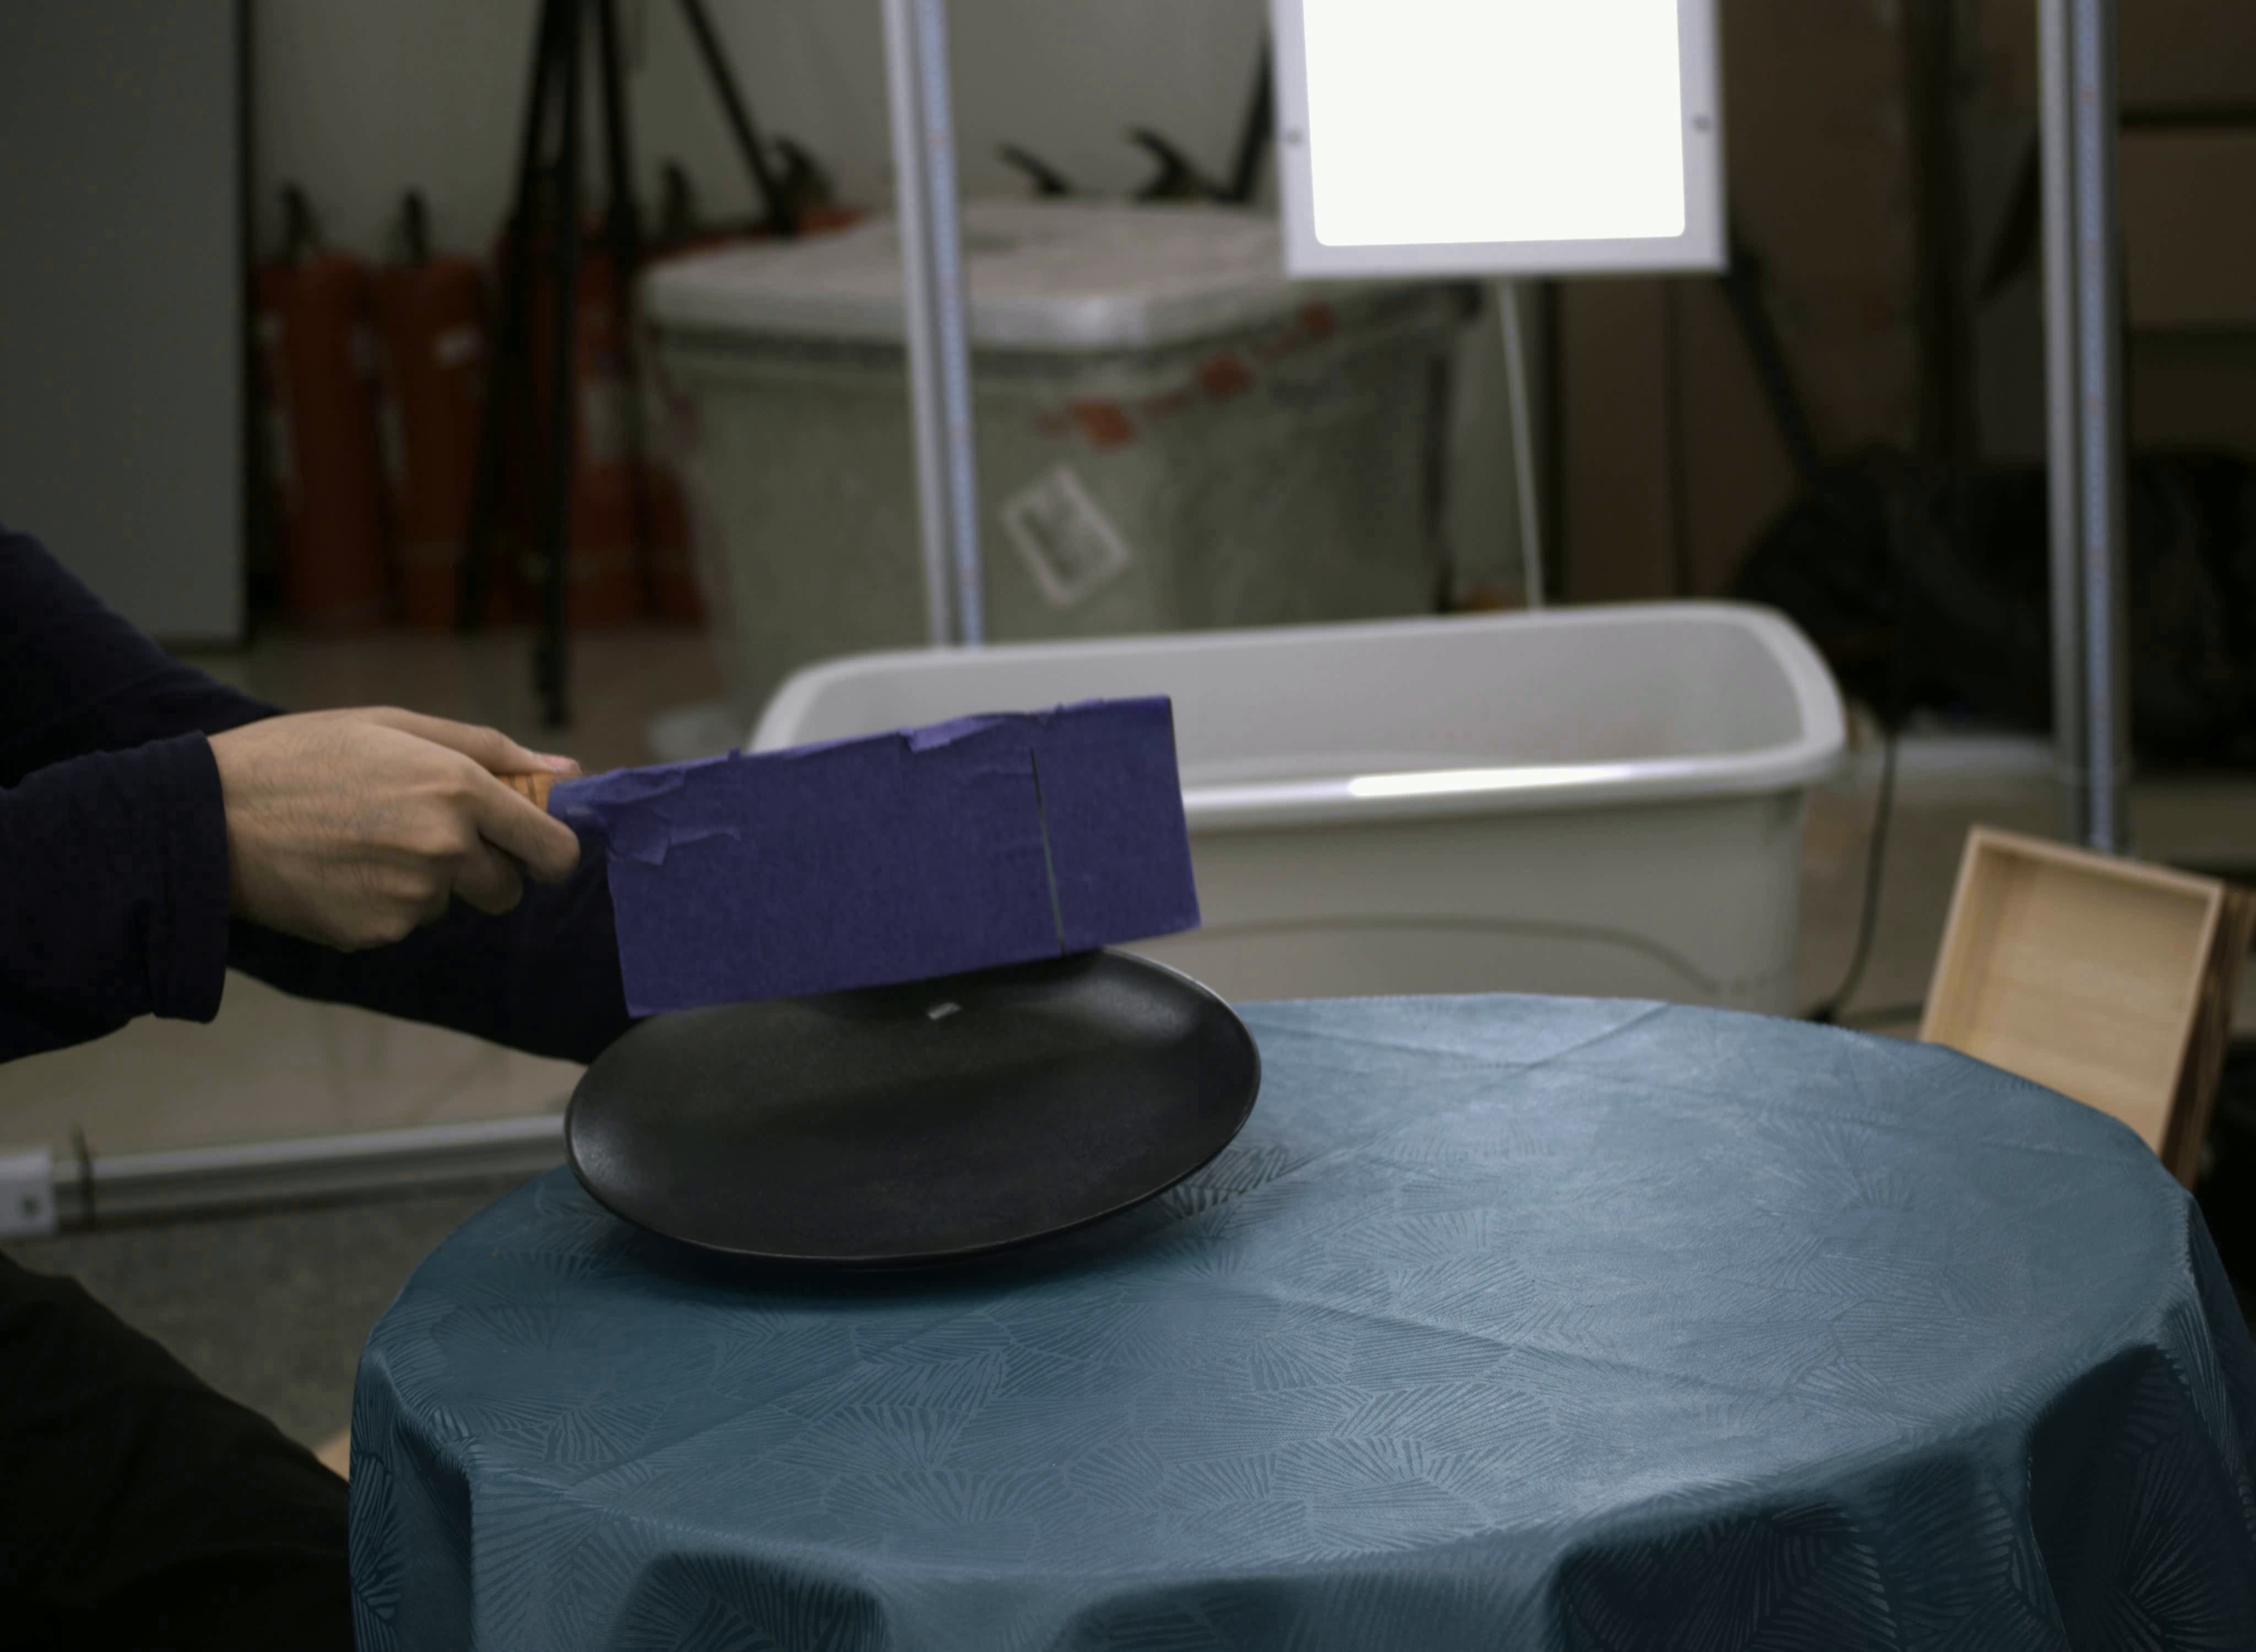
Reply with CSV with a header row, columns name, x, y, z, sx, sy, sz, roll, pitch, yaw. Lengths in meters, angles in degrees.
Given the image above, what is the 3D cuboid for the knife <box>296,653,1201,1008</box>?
name,x,y,z,sx,sy,sz,roll,pitch,yaw
knife,-0.130,0.014,1.934,0.313,0.104,0.032,-9,14,-4

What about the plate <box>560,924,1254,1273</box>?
name,x,y,z,sx,sy,sz,roll,pitch,yaw
plate,-0.076,0.098,1.919,0.244,0.023,0.244,-7,26,2
